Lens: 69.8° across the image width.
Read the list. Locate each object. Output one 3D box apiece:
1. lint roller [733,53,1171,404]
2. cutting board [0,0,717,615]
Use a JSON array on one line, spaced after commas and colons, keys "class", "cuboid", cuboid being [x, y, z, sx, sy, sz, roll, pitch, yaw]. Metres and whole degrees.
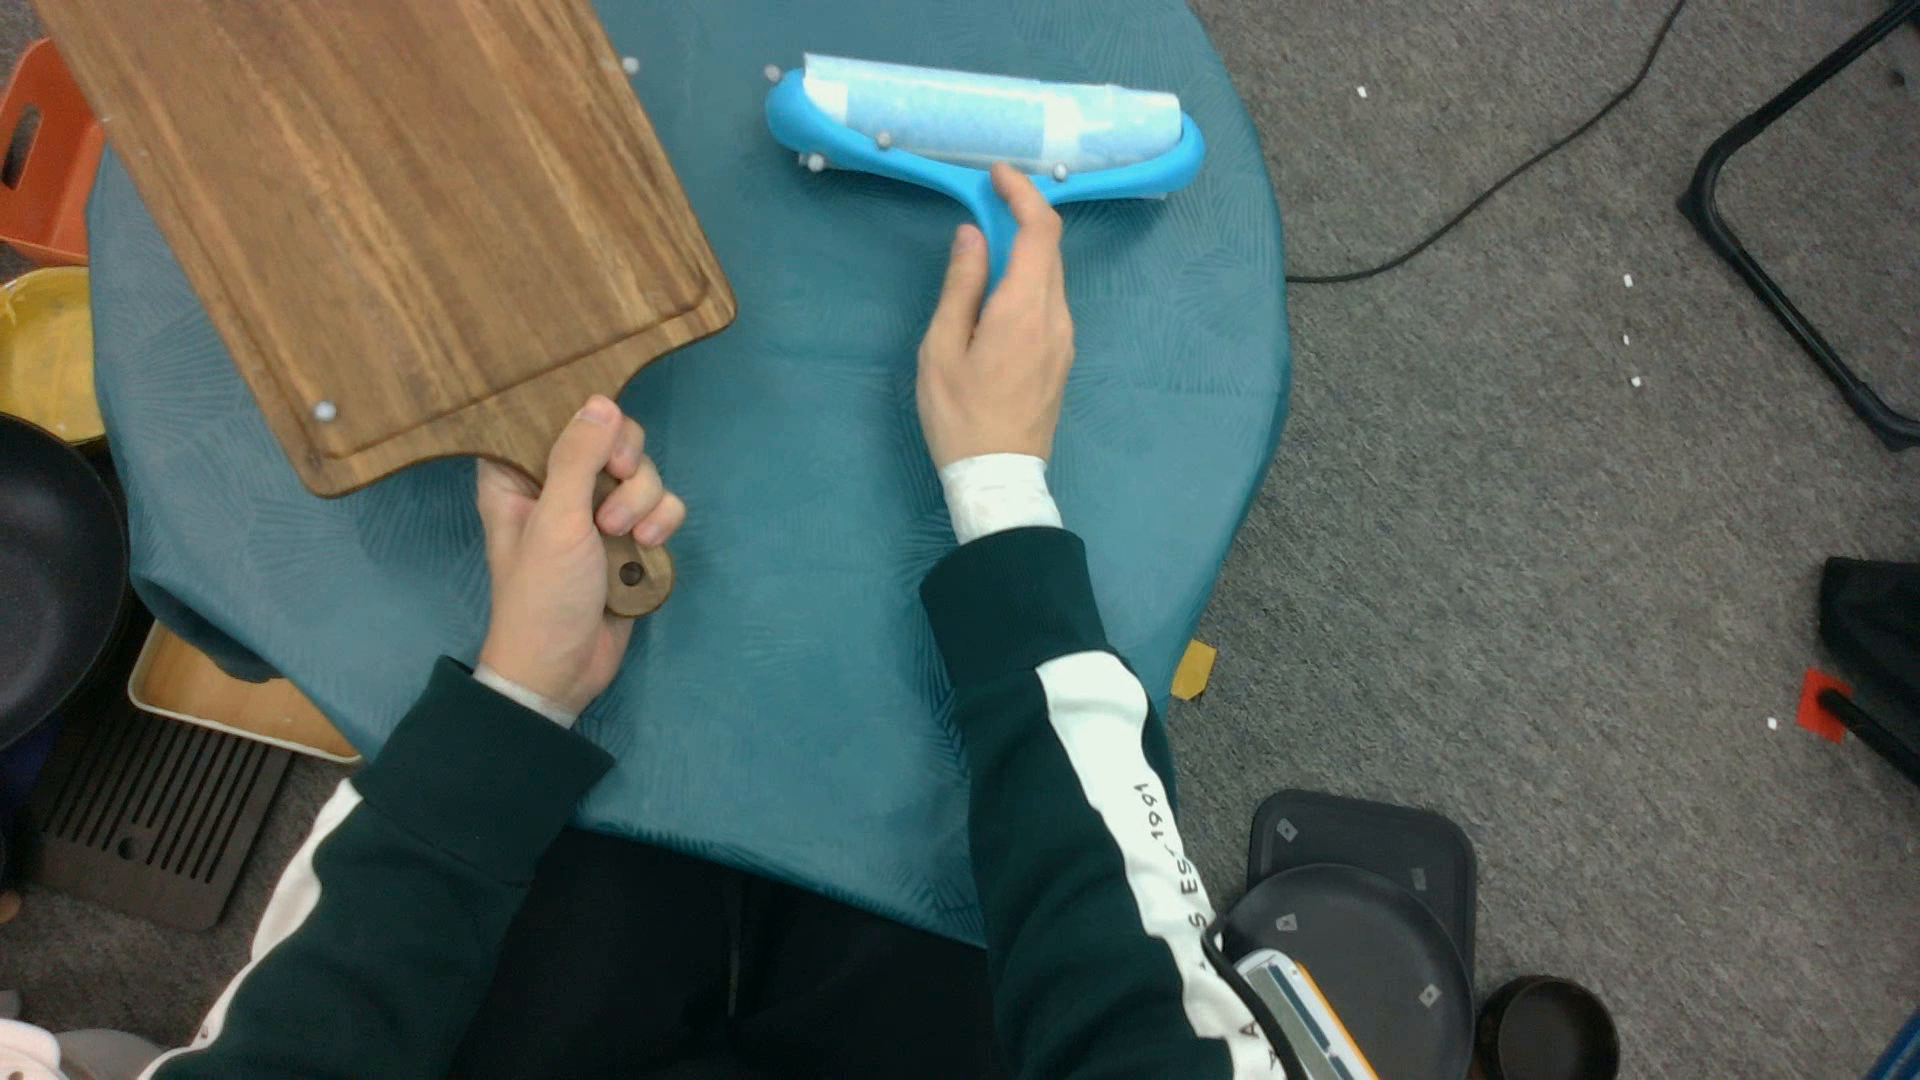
[{"class": "lint roller", "cuboid": [0.004, -0.163, 0.696, 0.229, 0.067, 0.181, -1, 70, -13]}, {"class": "cutting board", "cuboid": [-0.223, -0.122, 0.582, 0.201, 0.023, 0.352, -31, 100, -19]}]
